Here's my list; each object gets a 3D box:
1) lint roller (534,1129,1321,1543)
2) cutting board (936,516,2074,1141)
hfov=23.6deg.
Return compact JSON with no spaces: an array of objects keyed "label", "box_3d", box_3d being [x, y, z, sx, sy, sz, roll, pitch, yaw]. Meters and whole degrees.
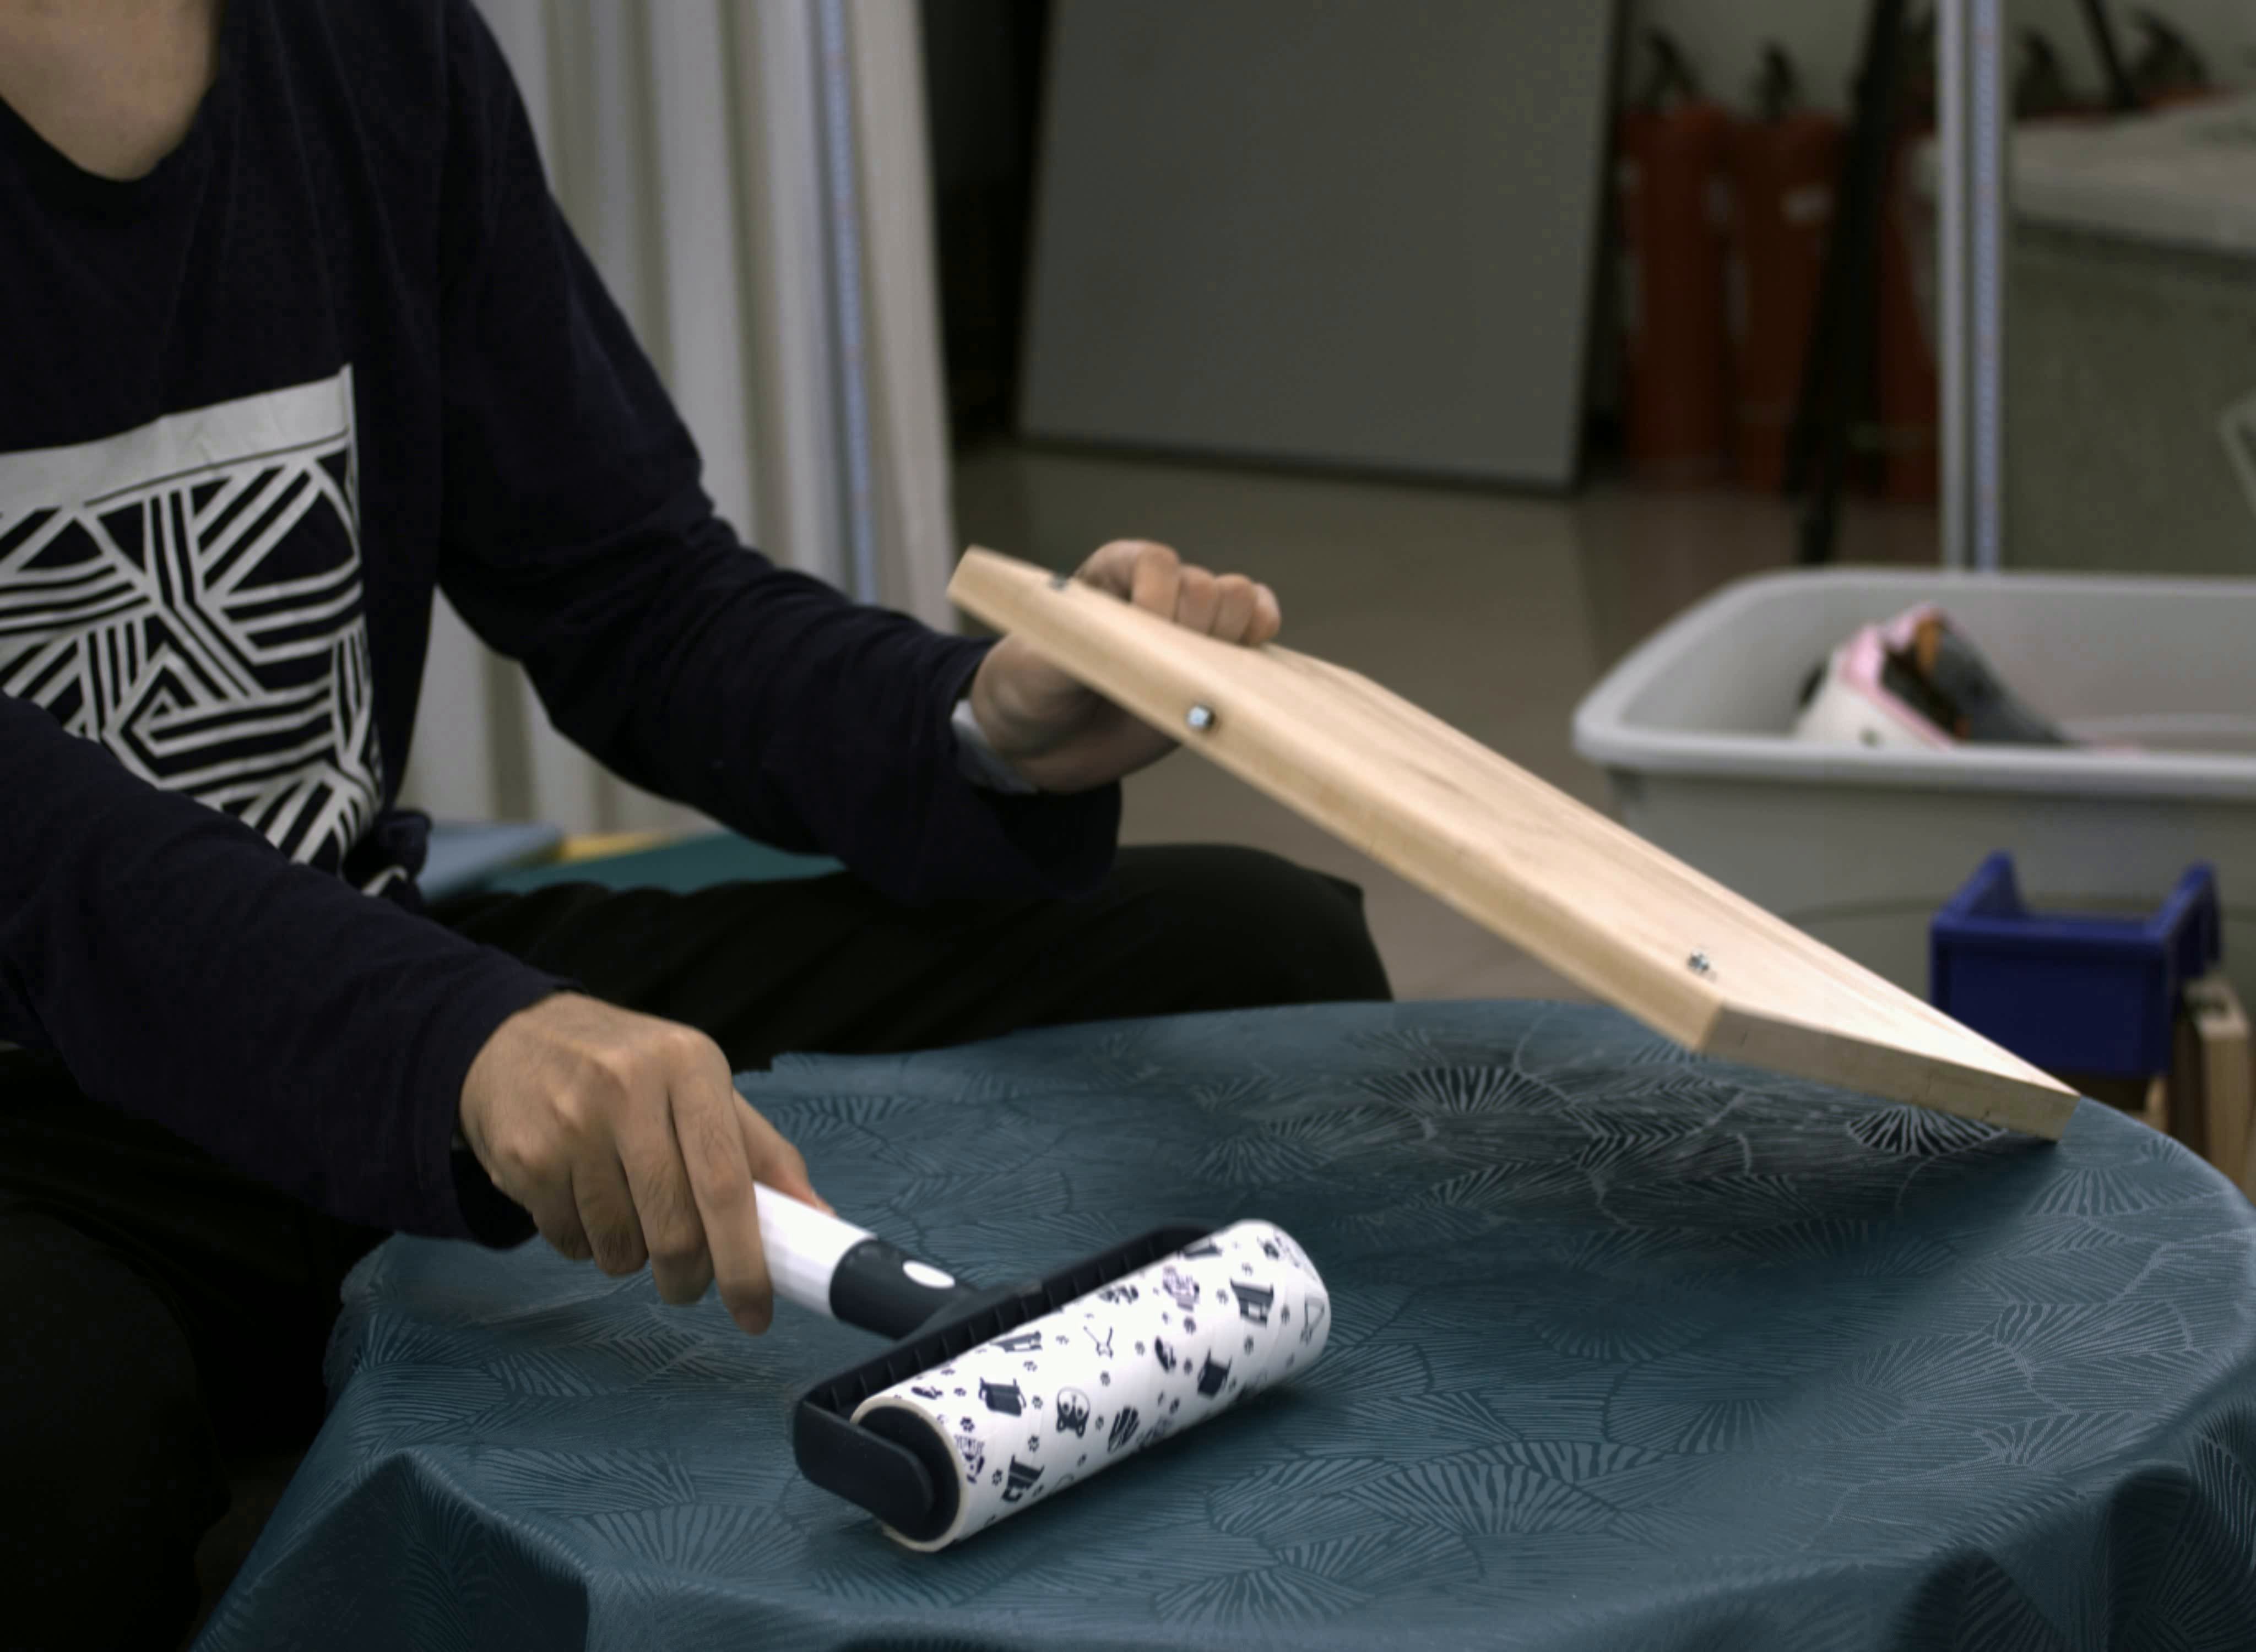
[{"label":"lint roller","box_3d":[-0.087,0.126,1.584,0.249,0.051,0.173,19,29,38]},{"label":"cutting board","box_3d":[0.122,0.000,1.775,0.352,0.024,0.246,32,8,37]}]
